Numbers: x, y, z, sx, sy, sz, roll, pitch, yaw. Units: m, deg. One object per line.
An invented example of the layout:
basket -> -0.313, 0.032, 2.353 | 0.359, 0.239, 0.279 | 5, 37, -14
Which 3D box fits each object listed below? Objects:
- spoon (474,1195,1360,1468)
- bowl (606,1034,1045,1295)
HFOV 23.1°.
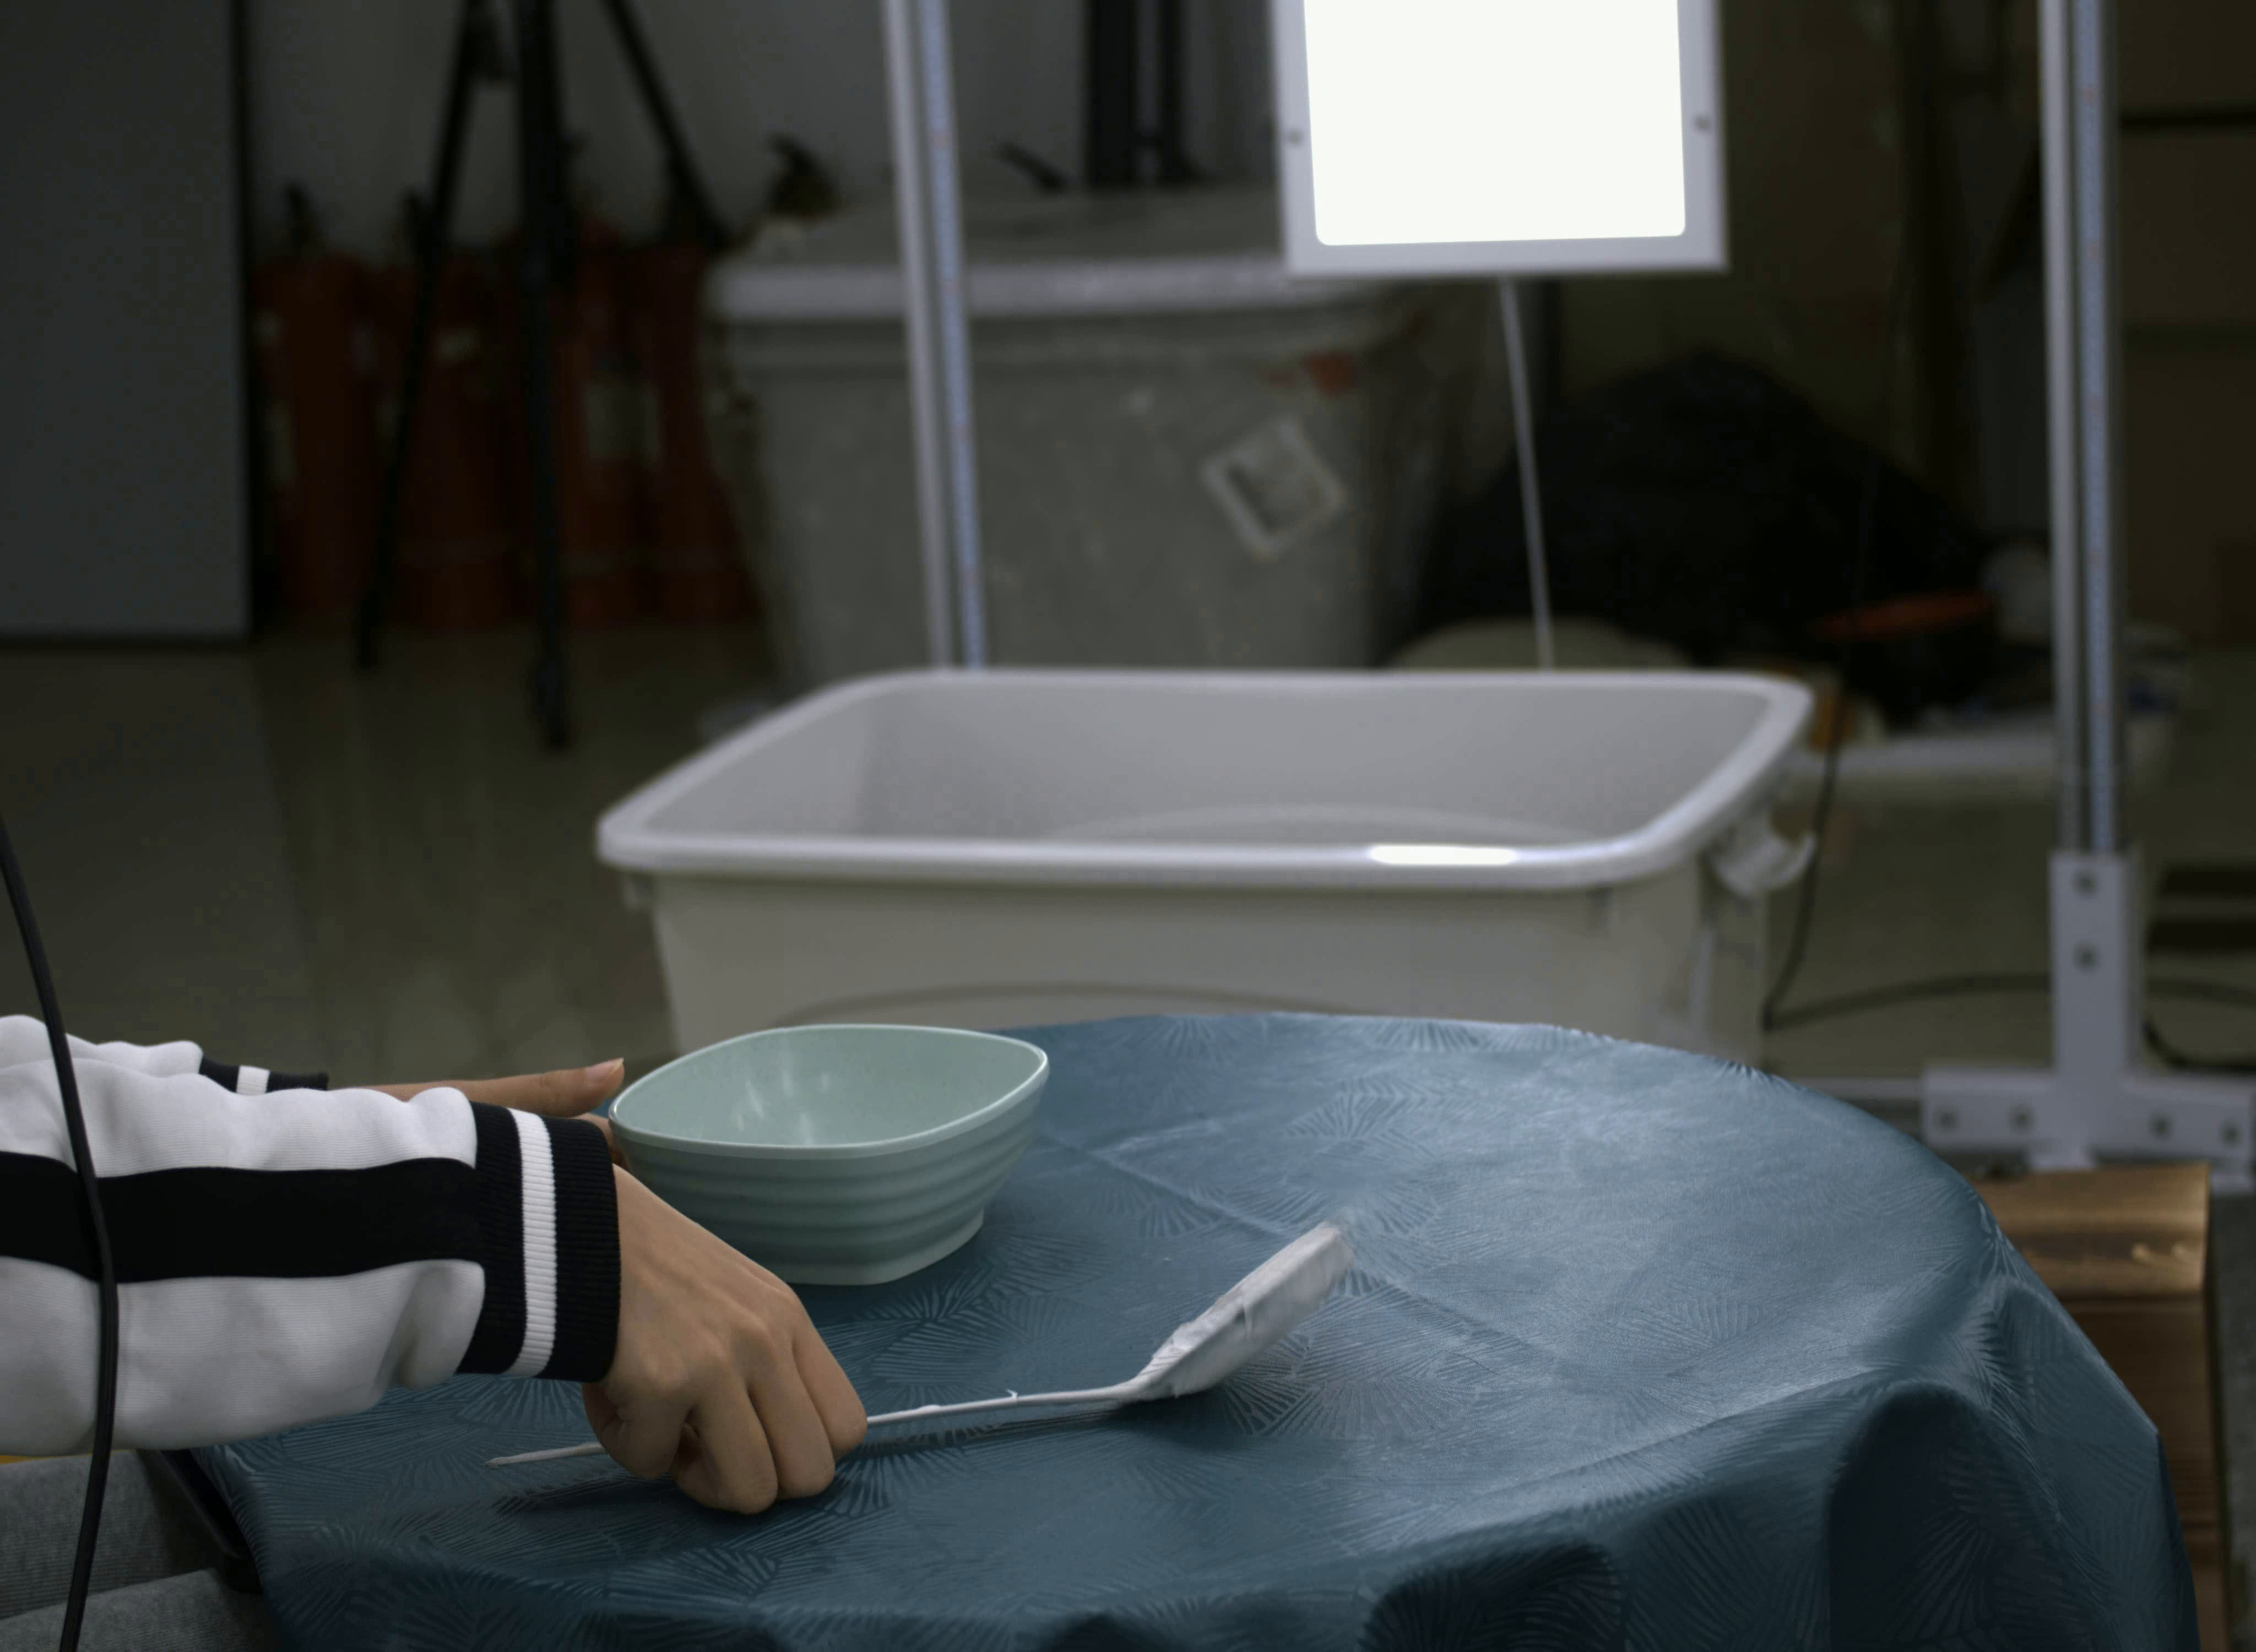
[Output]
spoon -> -0.063, 0.155, 1.685 | 0.276, 0.059, 0.101 | -5, -8, -3
bowl -> -0.099, 0.117, 1.863 | 0.151, 0.059, 0.151 | -5, 13, 0
